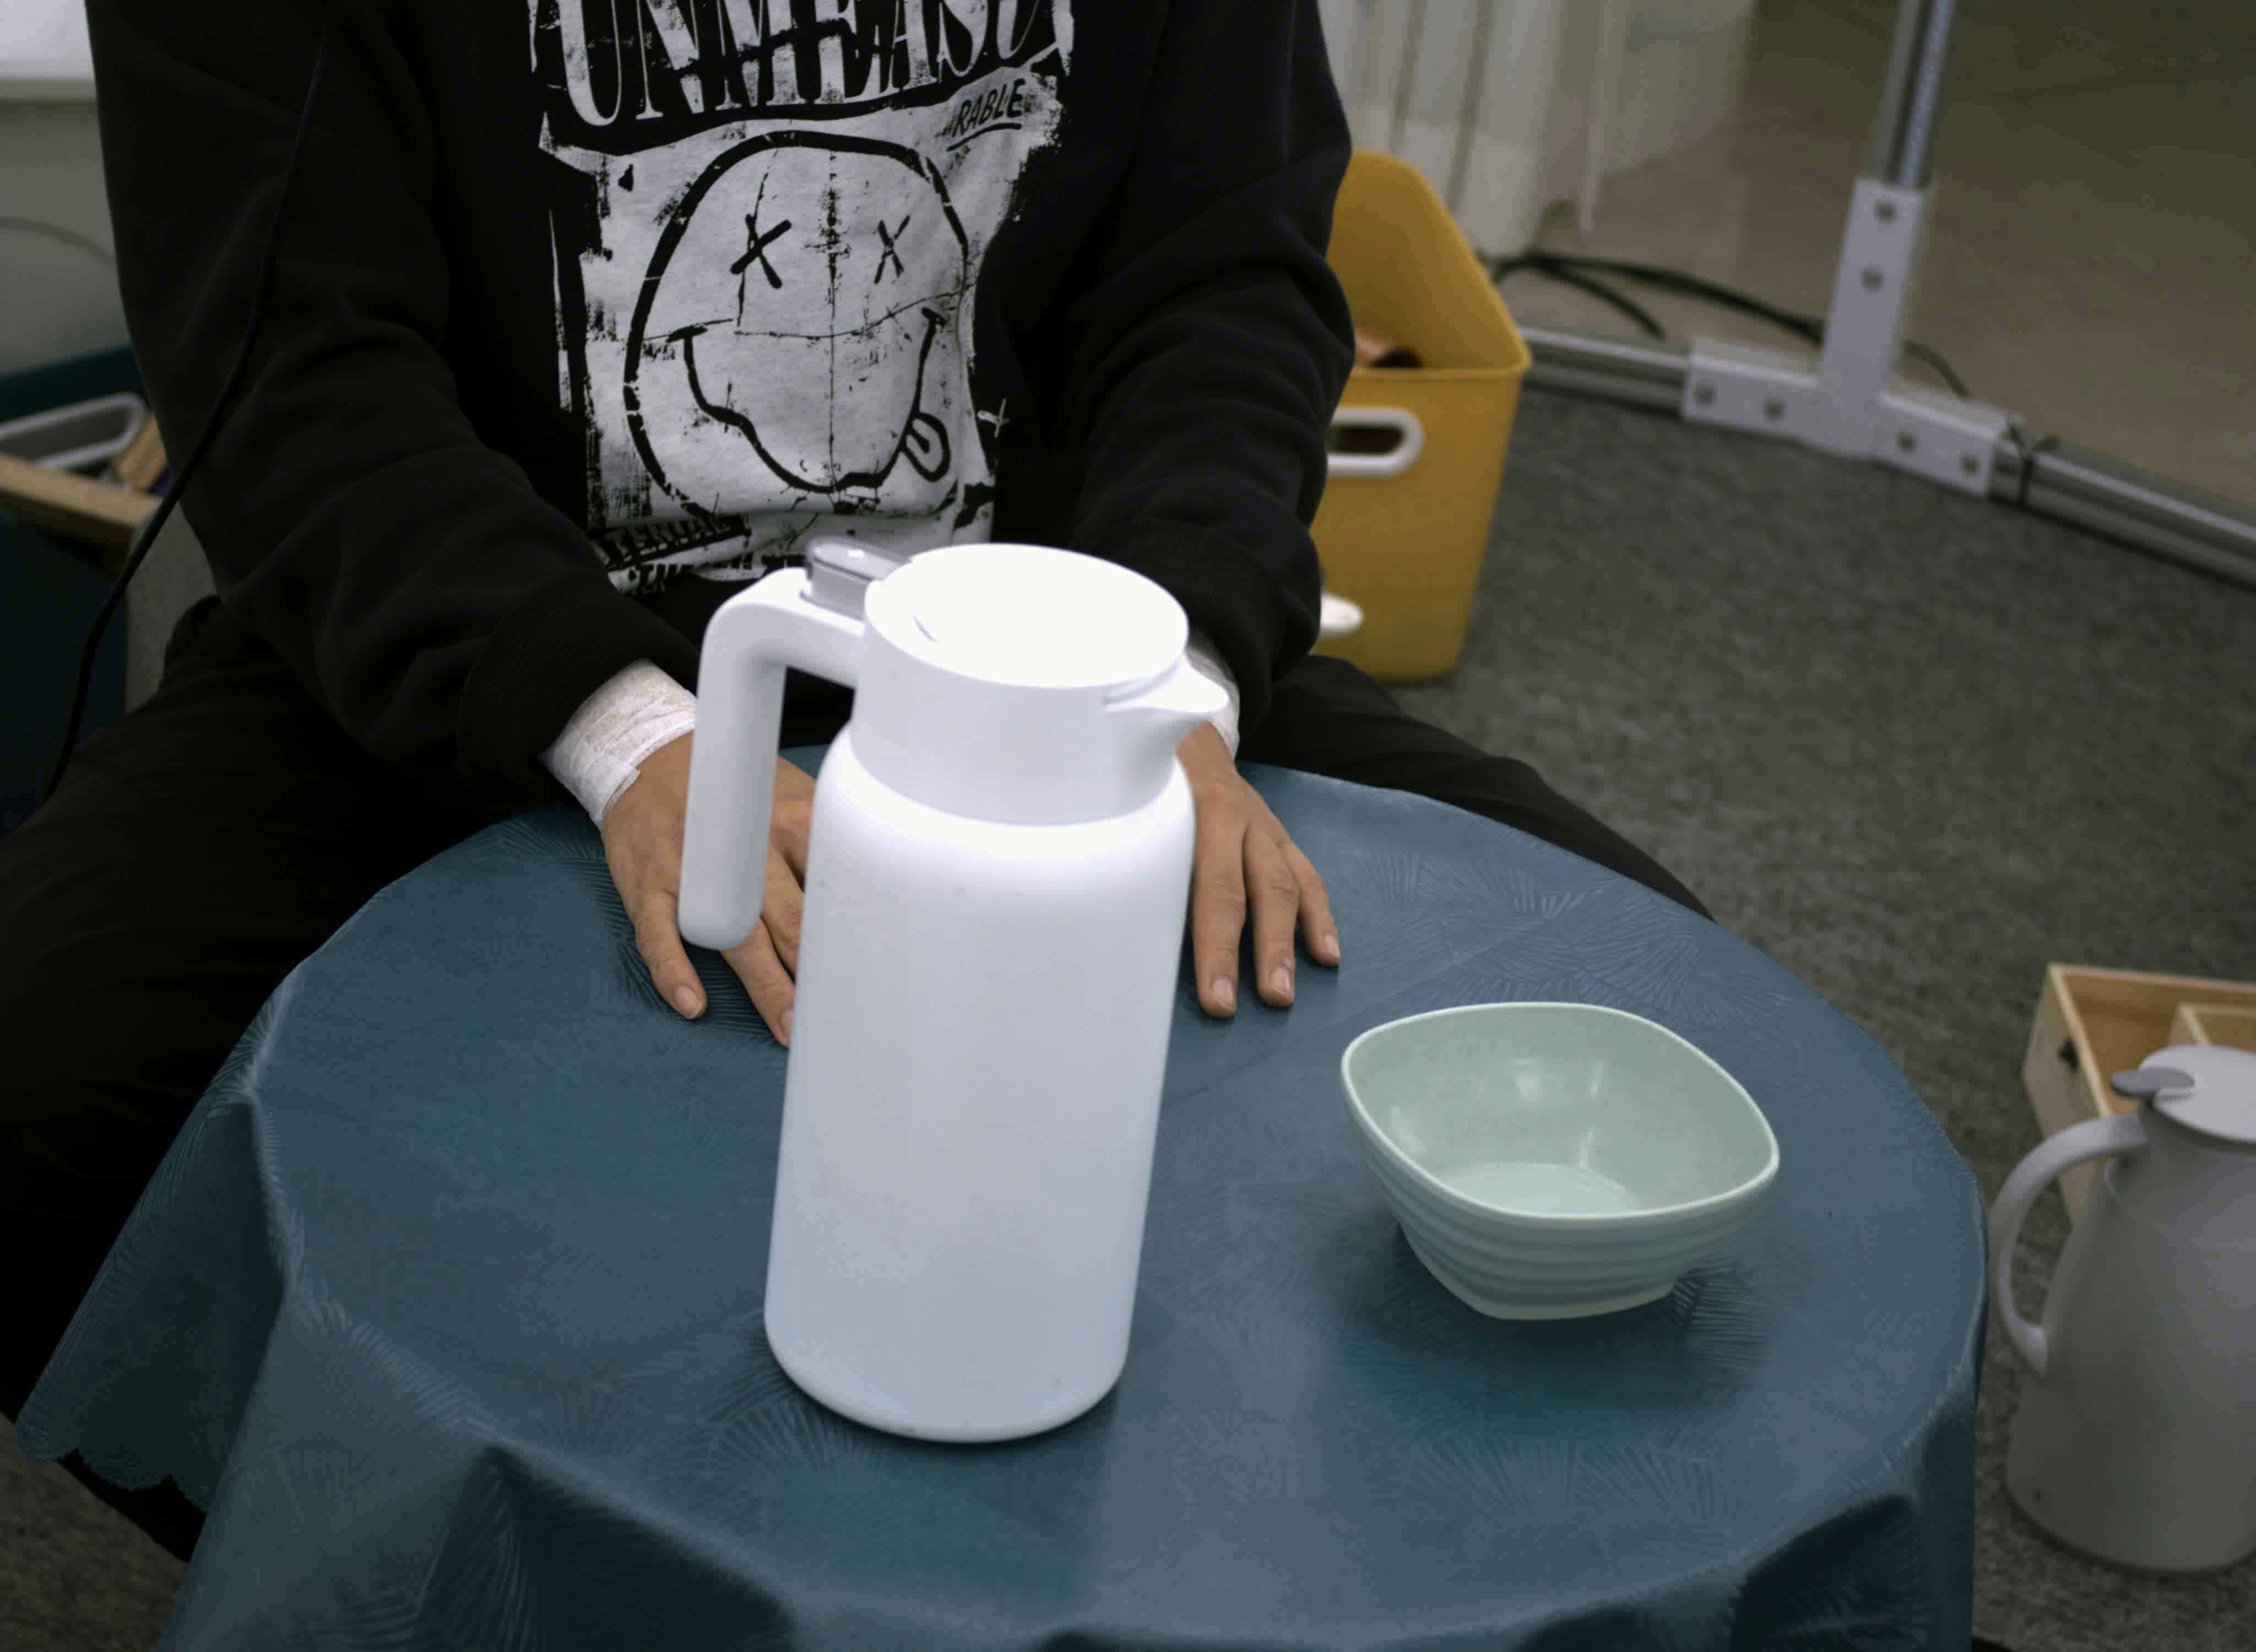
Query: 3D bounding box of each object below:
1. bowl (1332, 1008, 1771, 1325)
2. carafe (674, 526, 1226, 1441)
[{"bbox_3d":[0.138,0.120,1.785,0.151,0.058,0.152,5,26,-3],"label":"bowl"},{"bbox_3d":[-0.062,0.046,1.650,0.173,0.268,0.124,18,30,22],"label":"carafe"}]
